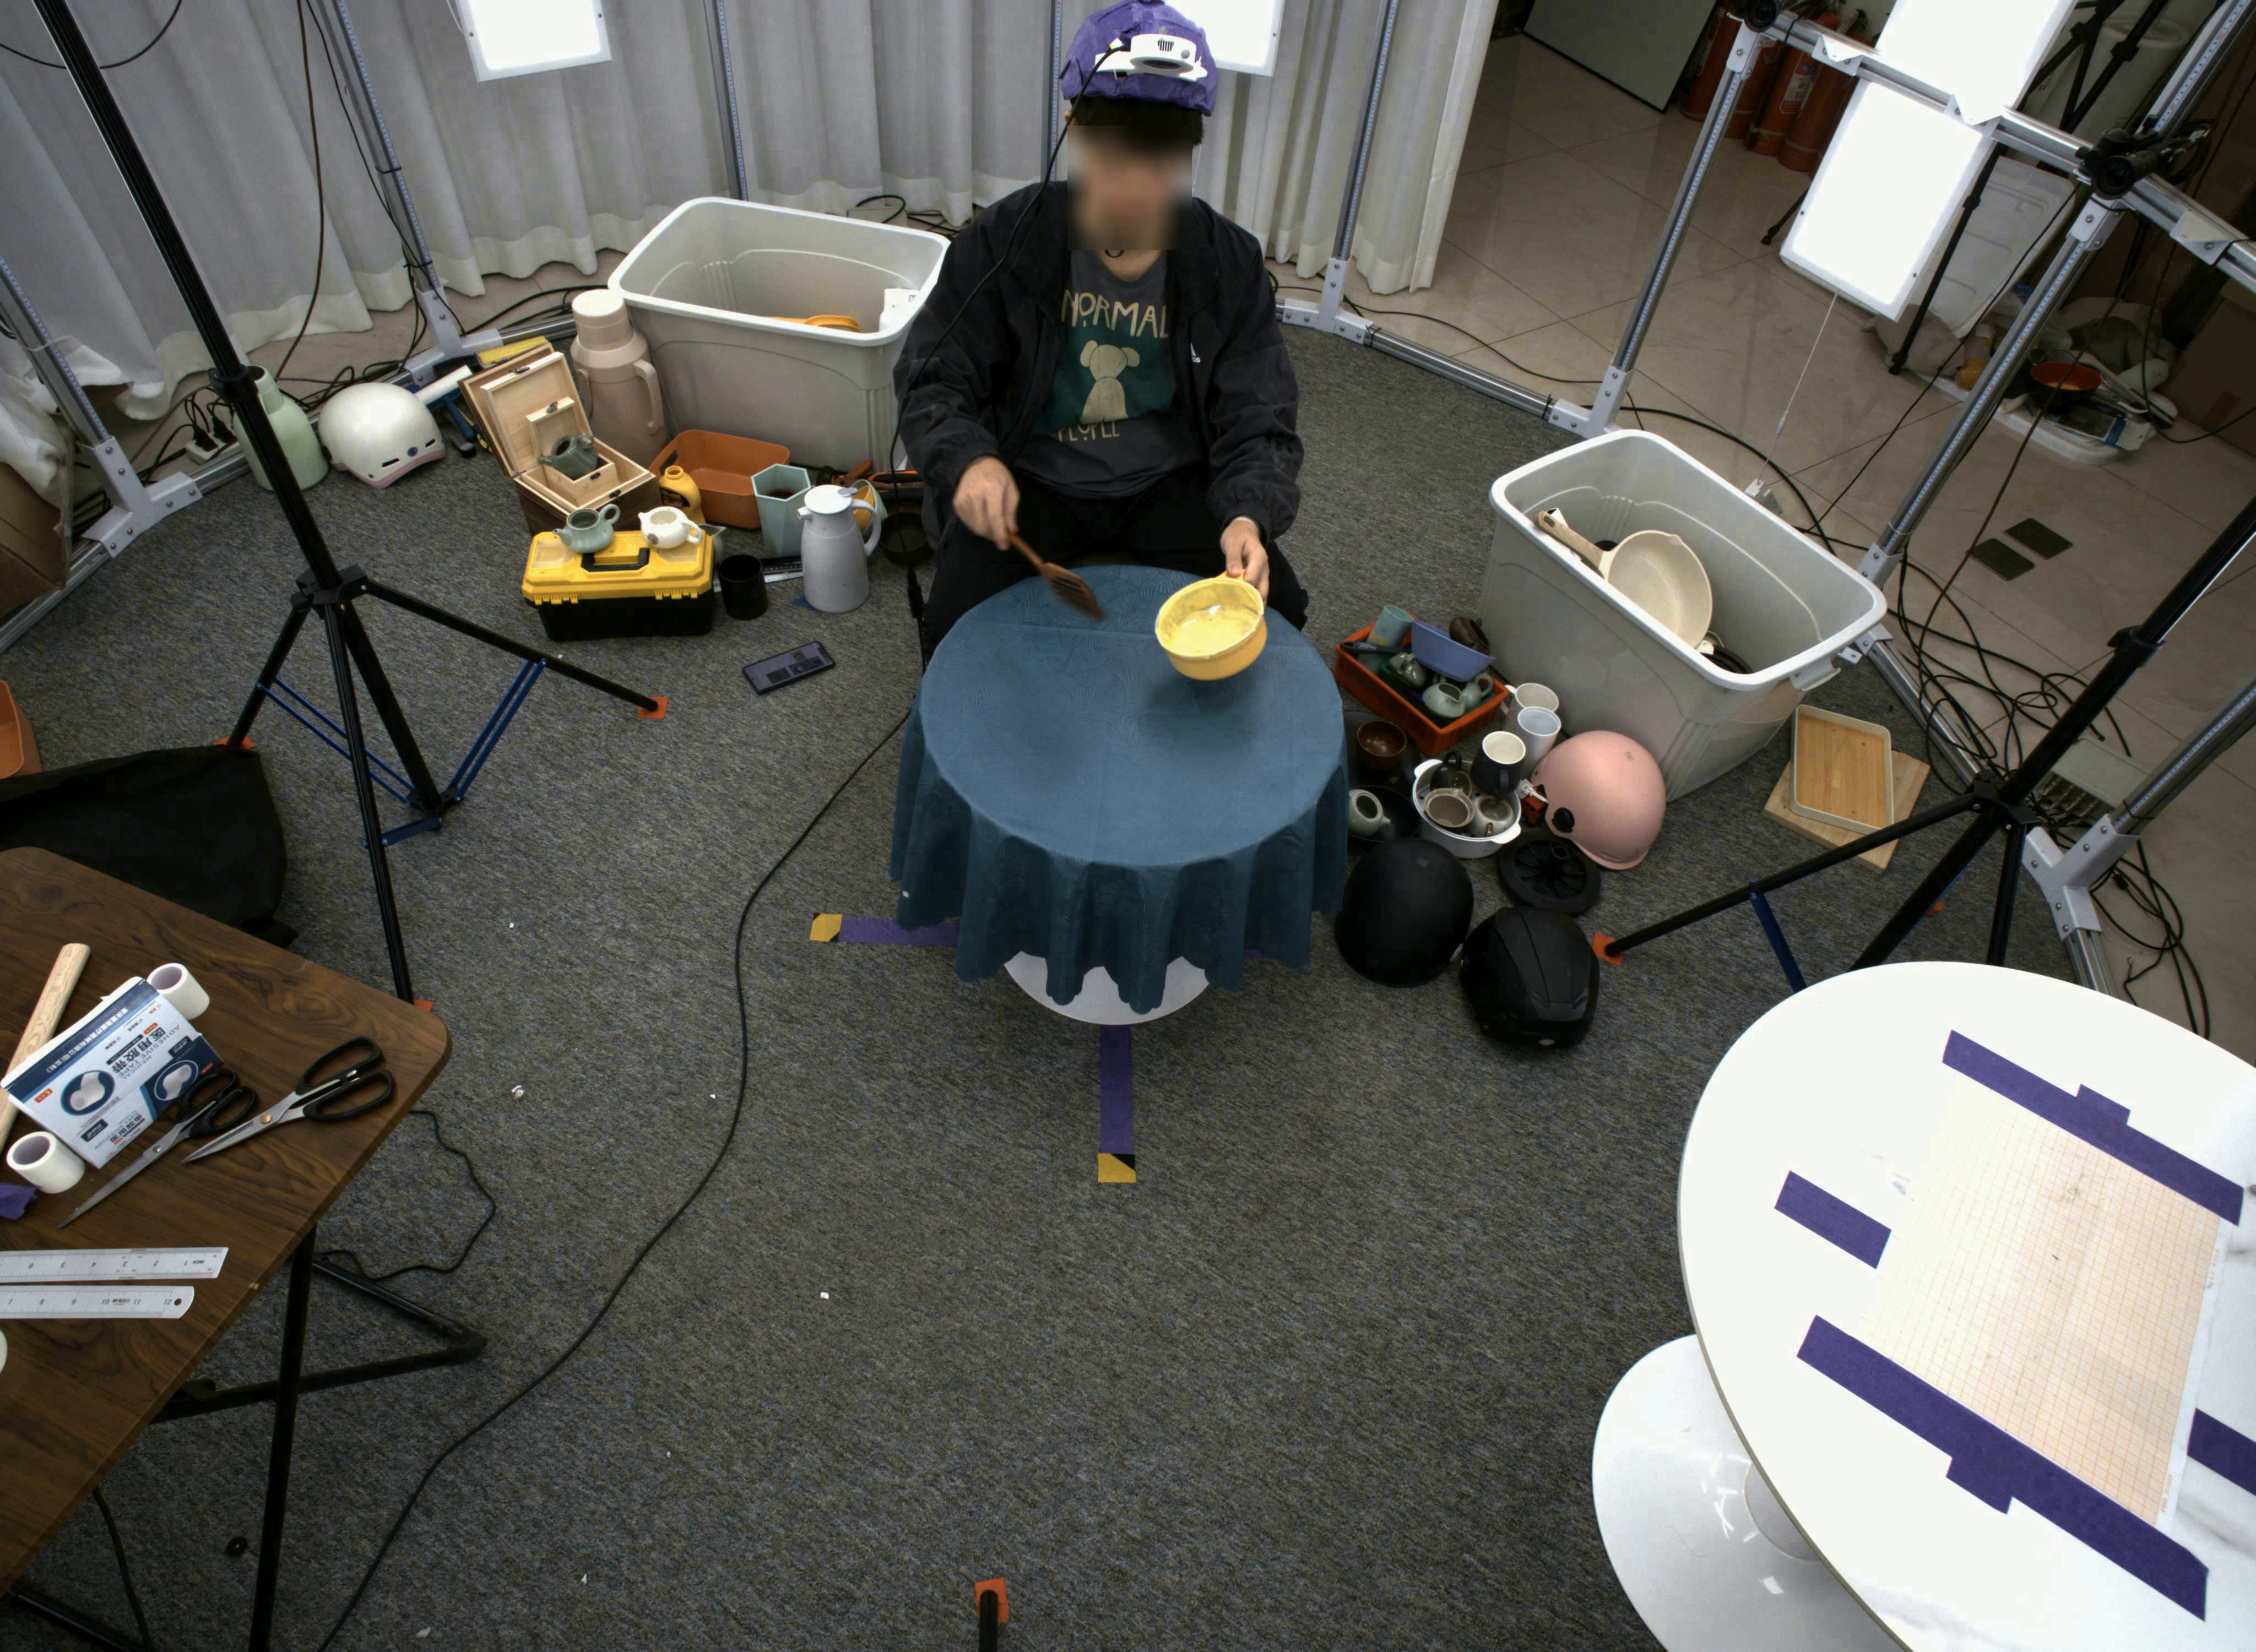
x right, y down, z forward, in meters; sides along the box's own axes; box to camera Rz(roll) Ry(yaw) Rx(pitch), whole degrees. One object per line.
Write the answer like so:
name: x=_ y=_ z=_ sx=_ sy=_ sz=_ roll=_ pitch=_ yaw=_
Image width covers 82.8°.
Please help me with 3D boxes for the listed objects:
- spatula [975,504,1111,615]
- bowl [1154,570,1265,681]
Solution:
spatula: x=-0.135 y=-0.383 z=1.803 sx=0.024 sy=0.084 sz=0.395 roll=-45 pitch=42 yaw=2
bowl: x=0.124 y=-0.280 z=1.796 sx=0.154 sy=0.072 sz=0.182 roll=7 pitch=55 yaw=27
